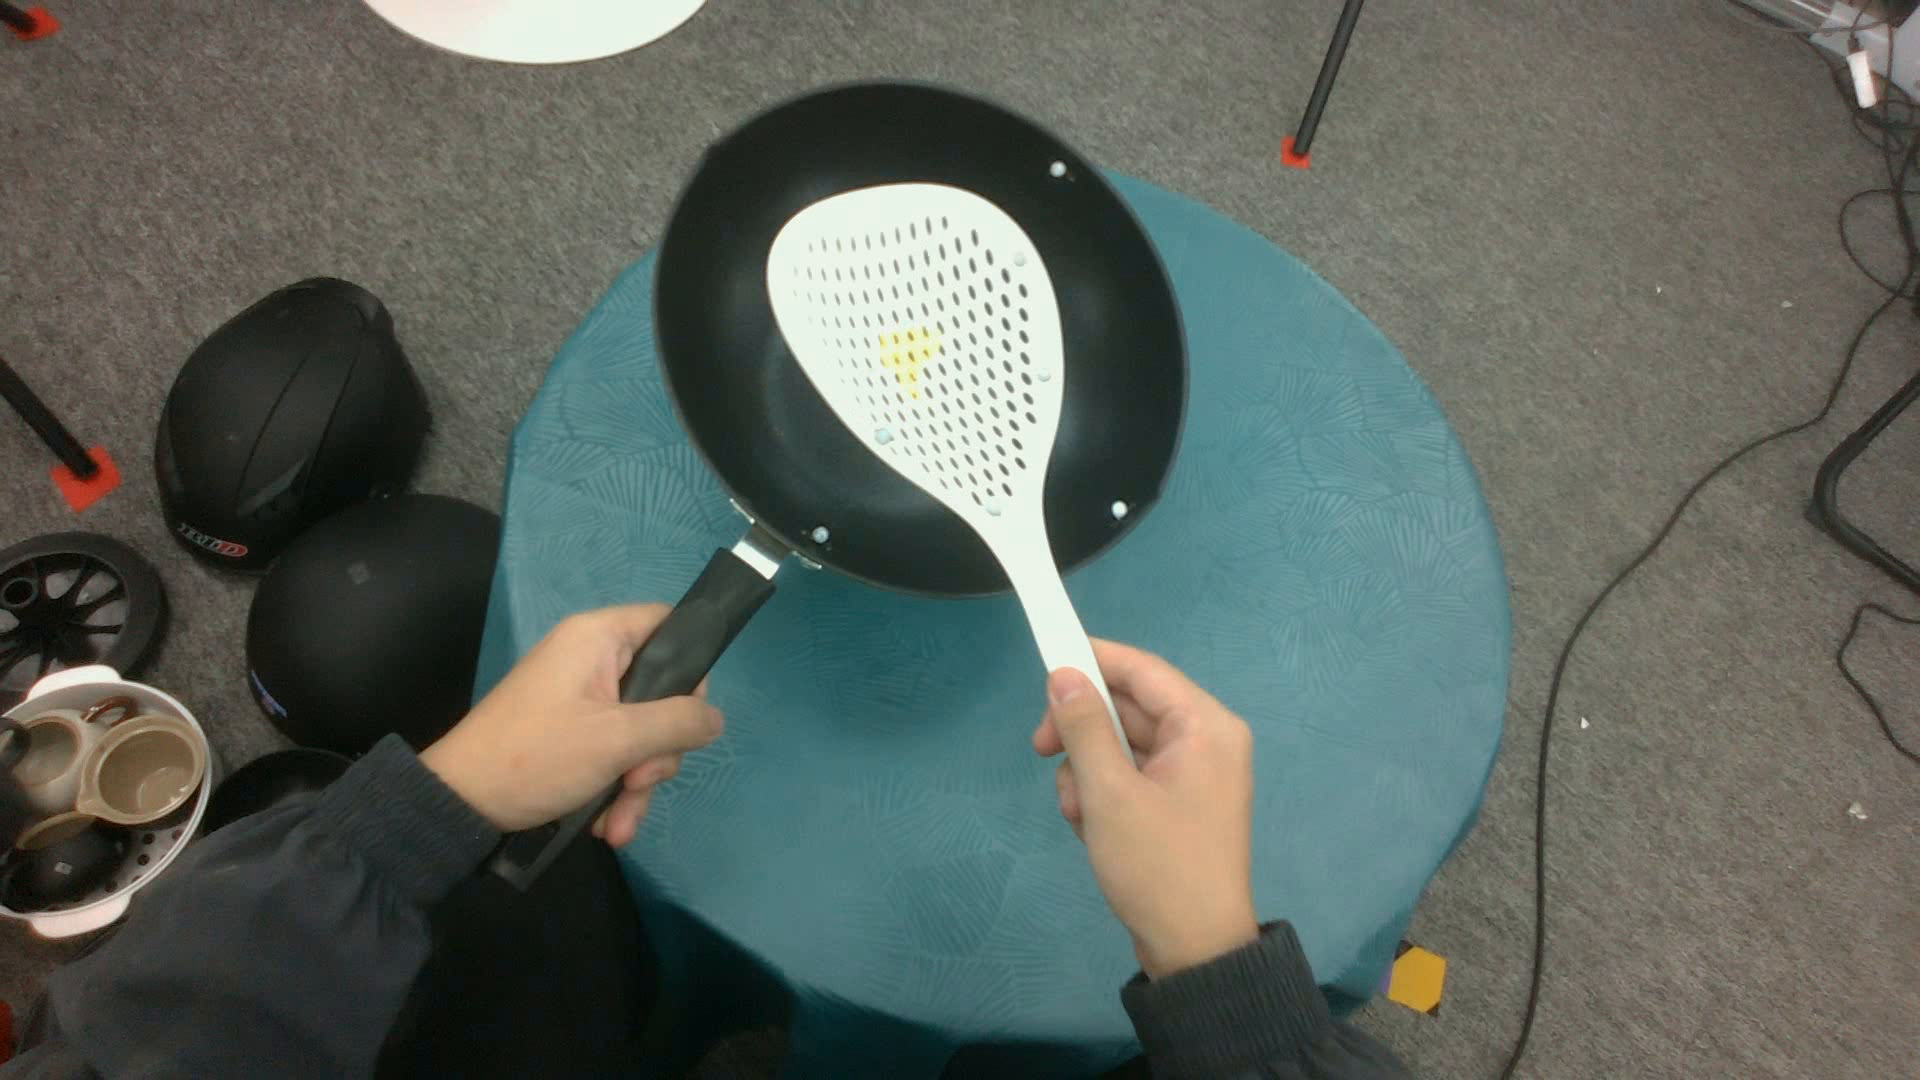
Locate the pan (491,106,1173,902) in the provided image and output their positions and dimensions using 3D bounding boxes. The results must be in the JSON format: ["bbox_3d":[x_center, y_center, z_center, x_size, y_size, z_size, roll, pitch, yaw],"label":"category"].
[{"bbox_3d":[-0.076,-0.019,0.701,0.288,0.086,0.465,33,66,-3],"label":"pan"}]

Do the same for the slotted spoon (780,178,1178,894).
[{"bbox_3d":[0.022,-0.007,0.624,0.137,0.050,0.348,-16,73,-24],"label":"slotted spoon"}]
